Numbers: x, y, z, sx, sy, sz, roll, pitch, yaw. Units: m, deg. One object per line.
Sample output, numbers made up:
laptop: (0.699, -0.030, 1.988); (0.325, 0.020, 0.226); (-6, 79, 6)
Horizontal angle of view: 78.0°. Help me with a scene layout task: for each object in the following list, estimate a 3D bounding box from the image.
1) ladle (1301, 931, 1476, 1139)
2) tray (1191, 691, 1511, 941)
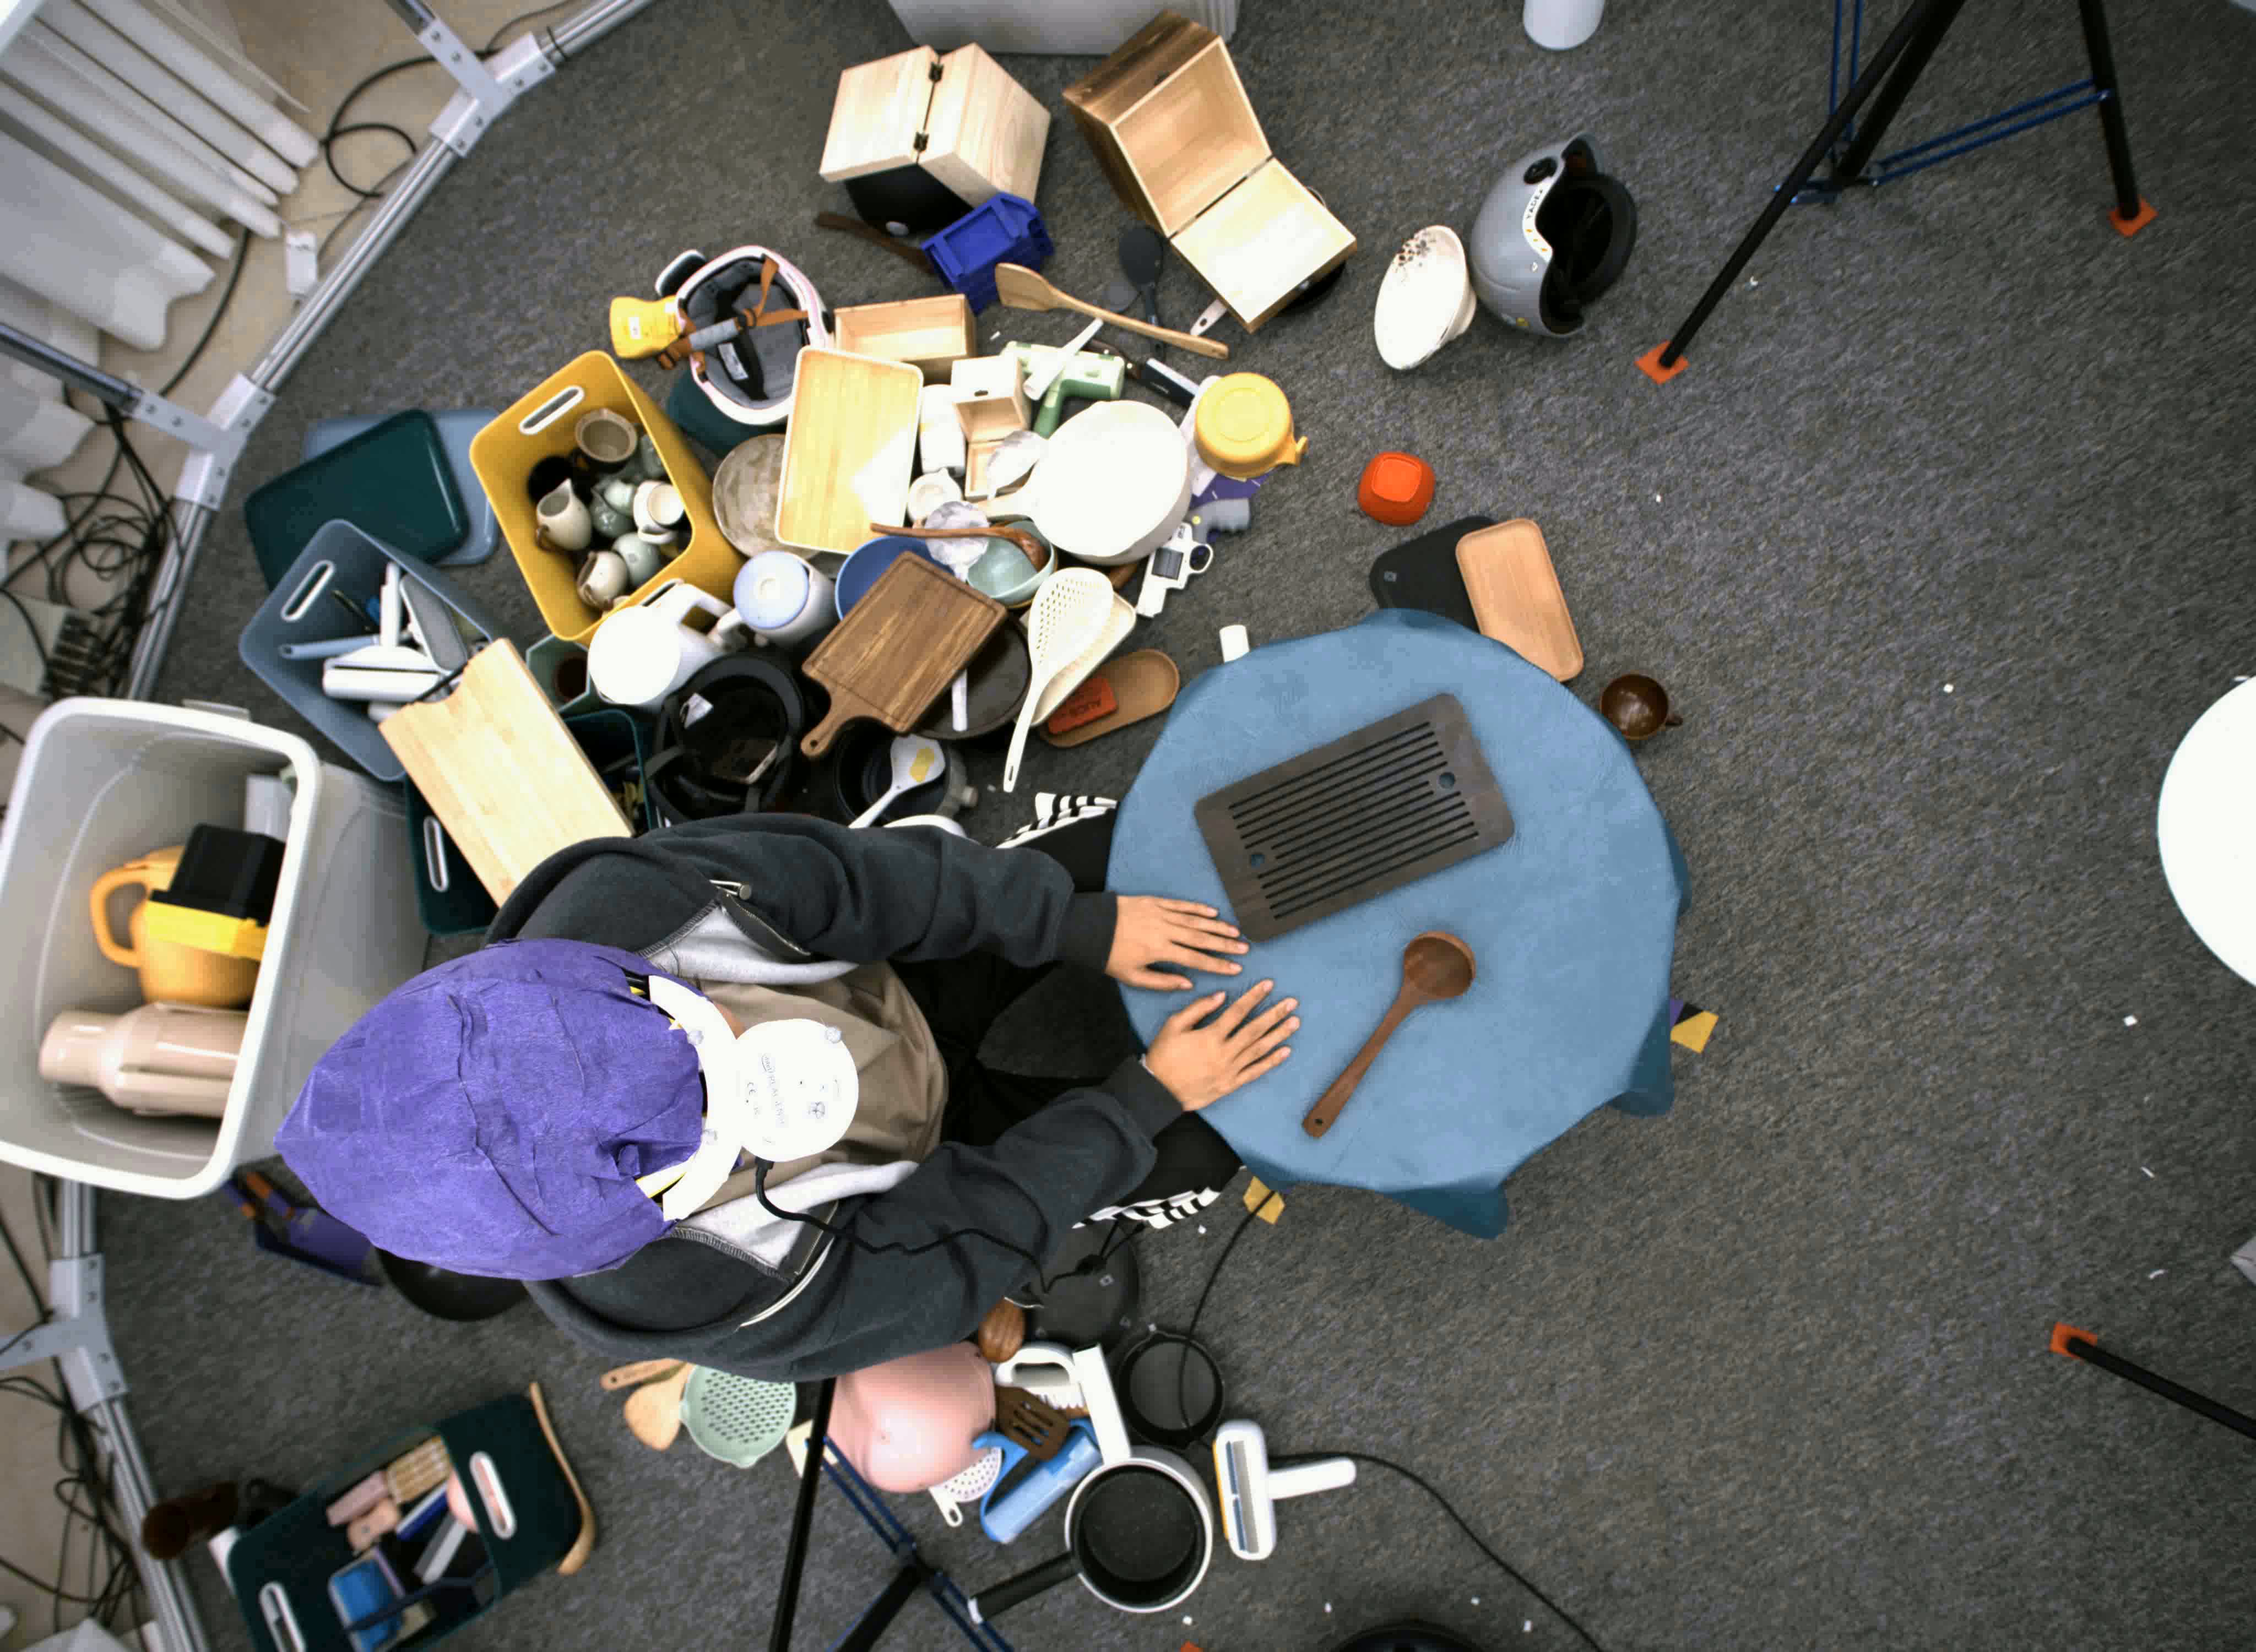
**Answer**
ladle: (0.261, 0.218, 1.420); (0.076, 0.065, 0.261); (38, 94, 11)
tray: (0.234, -0.011, 1.461); (0.308, 0.018, 0.169); (-23, 83, 9)
